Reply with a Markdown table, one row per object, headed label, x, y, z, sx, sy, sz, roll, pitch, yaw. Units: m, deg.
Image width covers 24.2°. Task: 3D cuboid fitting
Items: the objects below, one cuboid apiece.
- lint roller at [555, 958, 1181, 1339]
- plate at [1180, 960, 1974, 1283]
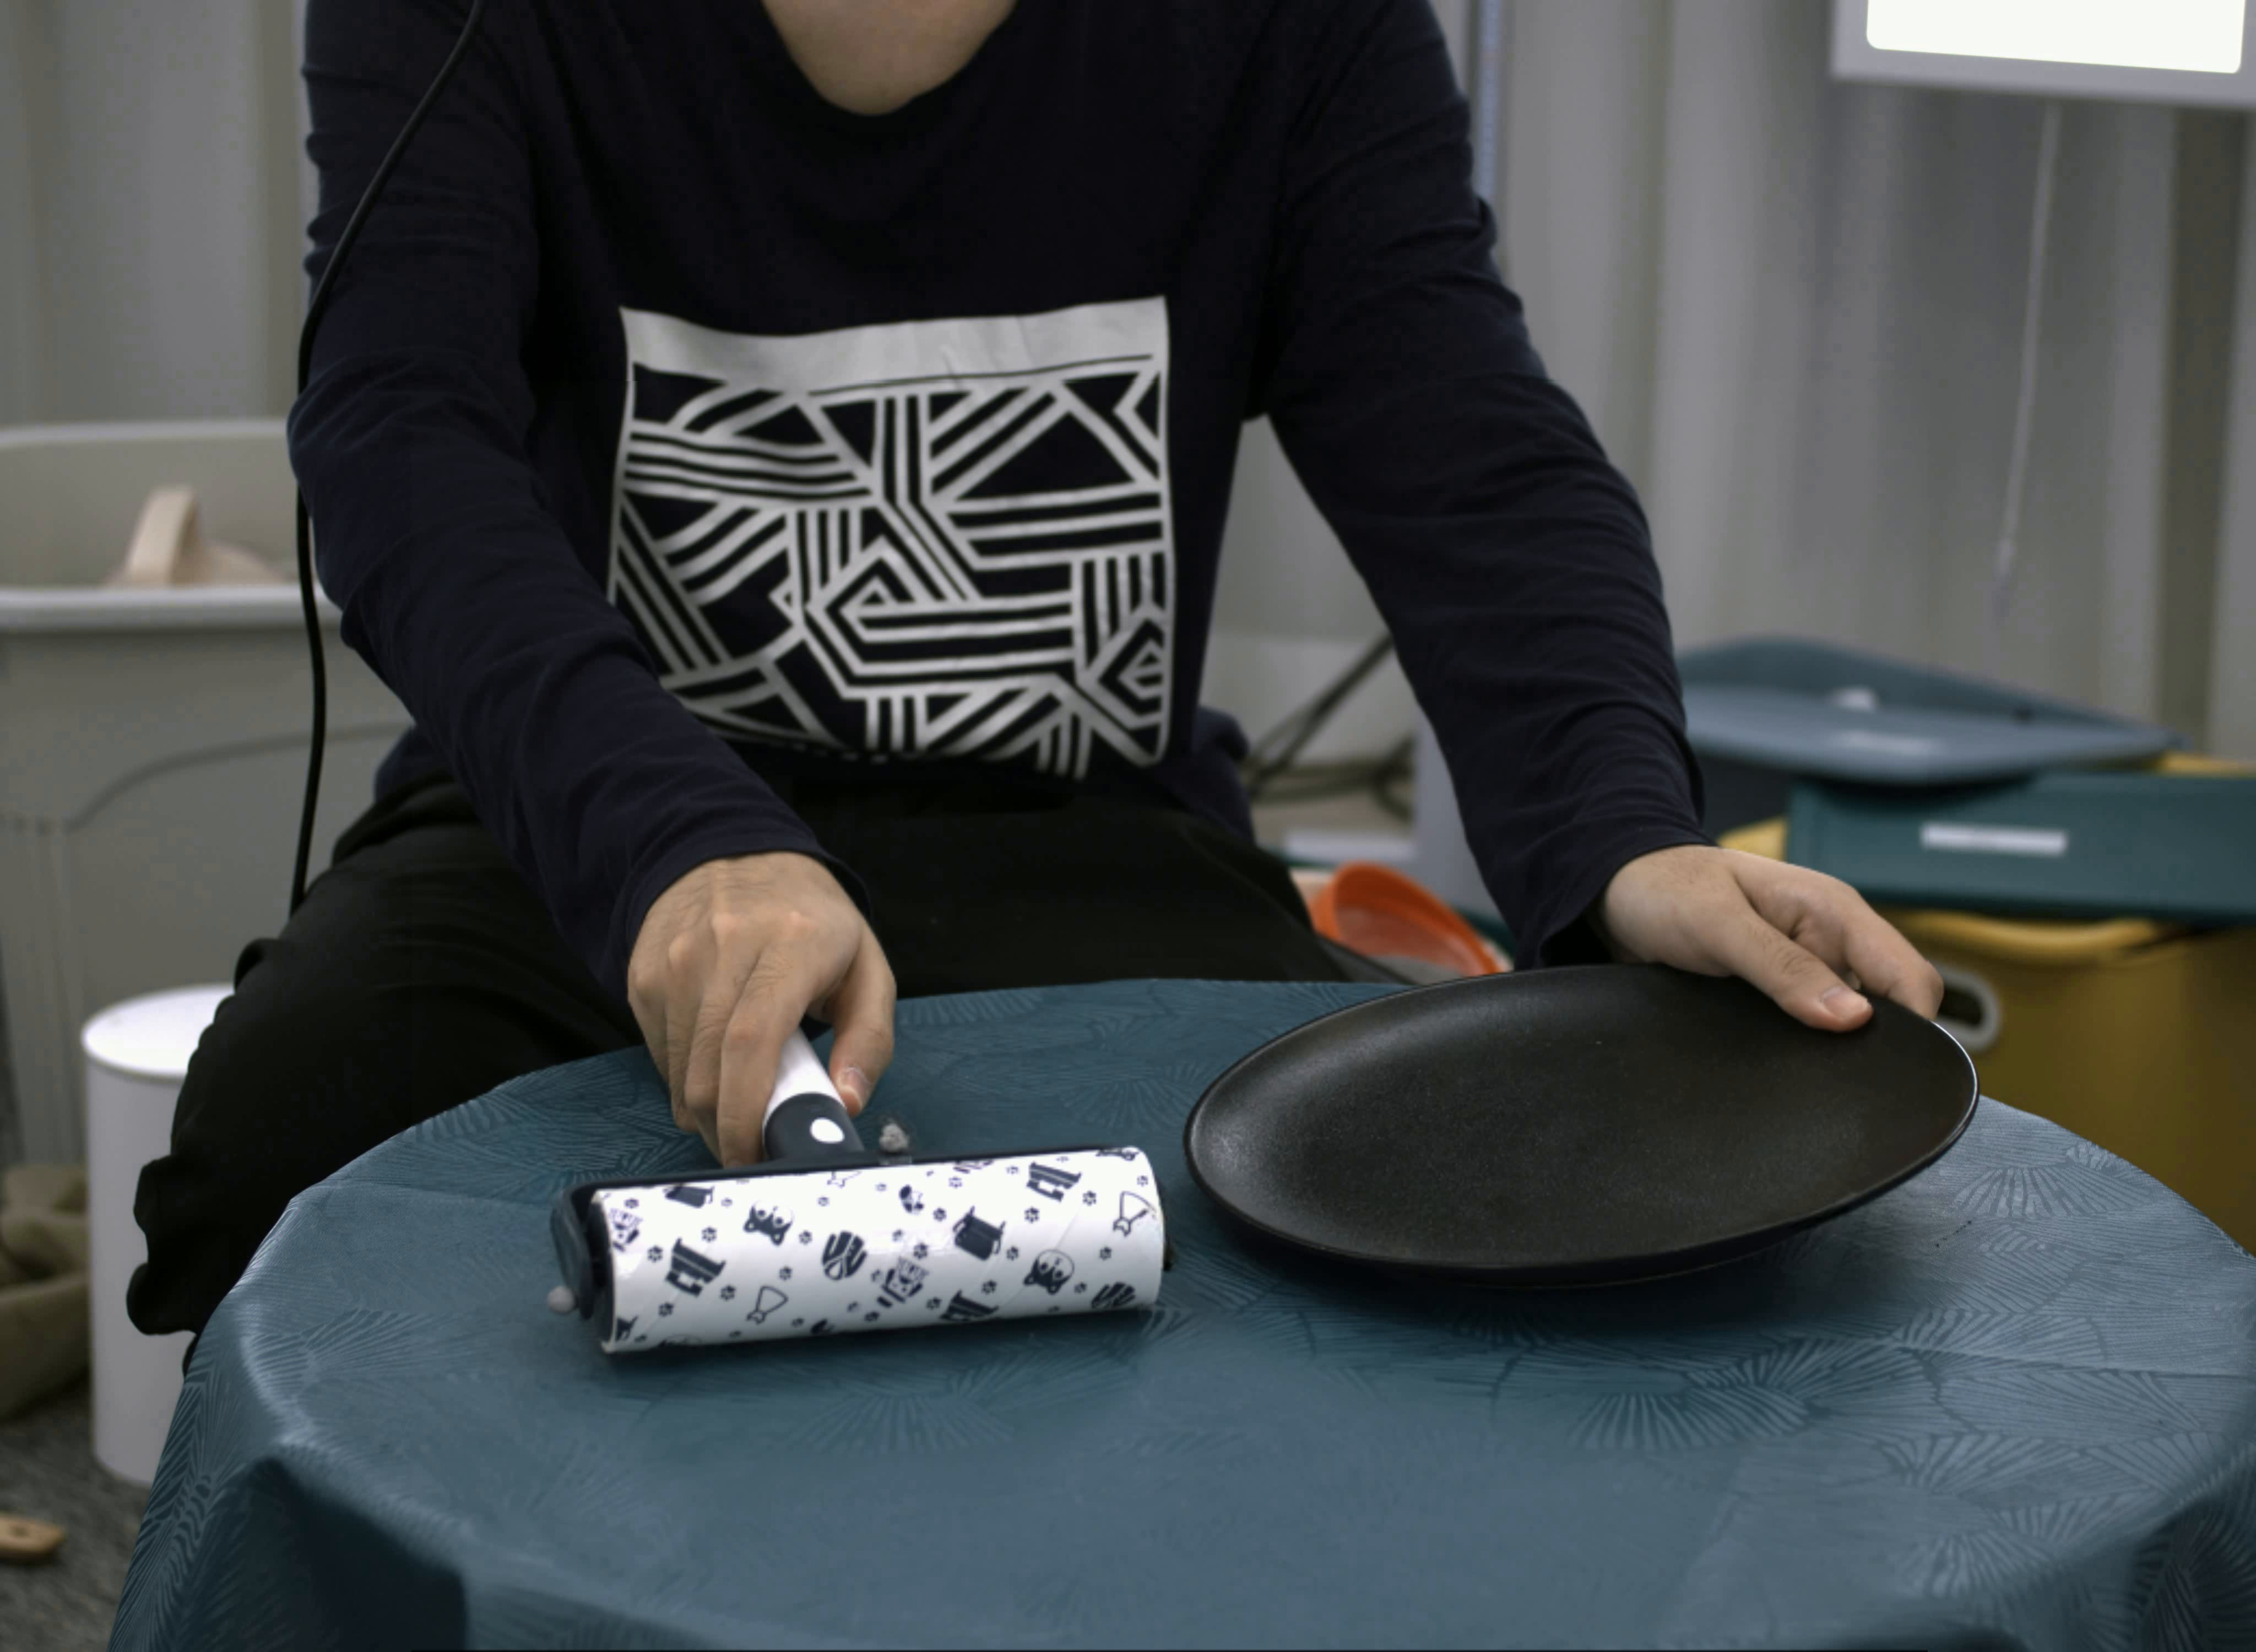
| label | x | y | z | sx | sy | sz | roll | pitch | yaw |
| --- | --- | --- | --- | --- | --- | --- | --- | --- | --- |
| lint roller | -0.099 | 0.084 | 1.591 | 0.176 | 0.051 | 0.244 | -3 | 21 | -15 |
| plate | 0.137 | 0.094 | 1.614 | 0.243 | 0.023 | 0.243 | -6 | 19 | 2 |
